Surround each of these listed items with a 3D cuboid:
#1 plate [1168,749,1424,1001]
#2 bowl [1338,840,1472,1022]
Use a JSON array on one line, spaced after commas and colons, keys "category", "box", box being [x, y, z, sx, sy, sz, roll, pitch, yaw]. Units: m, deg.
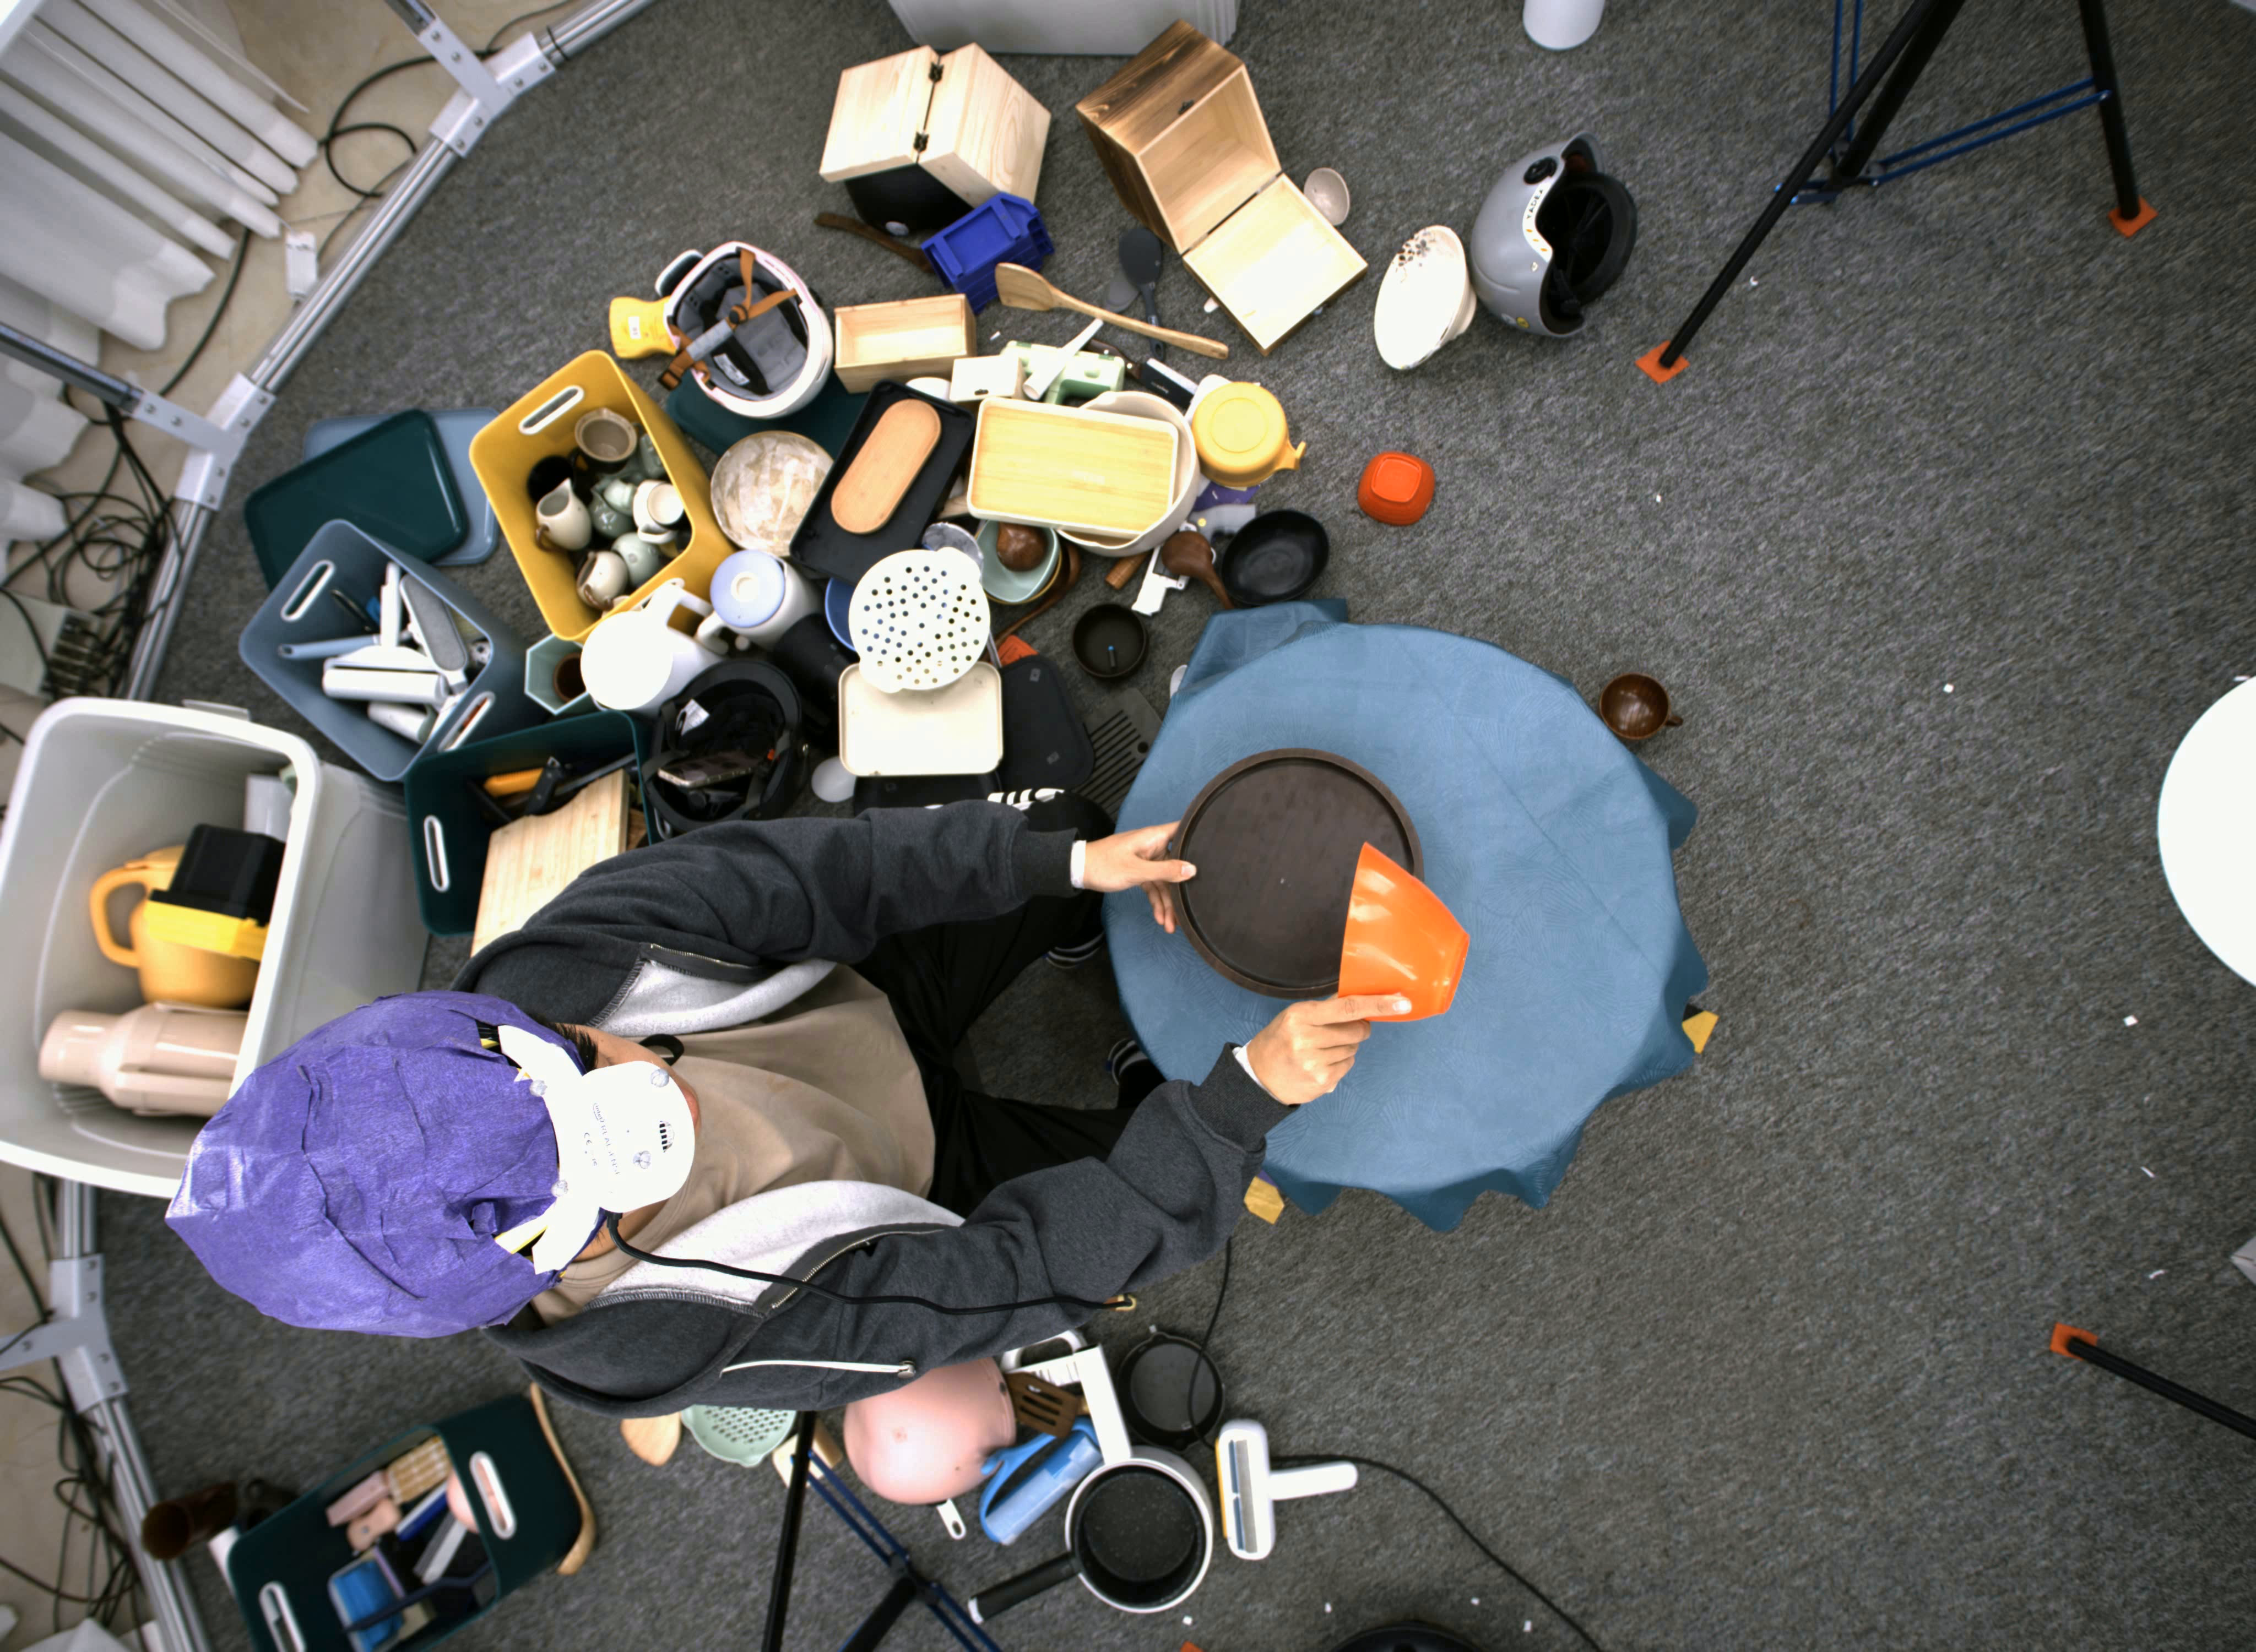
[{"category": "plate", "box": [0.166, 0.047, 1.380, 0.255, 0.029, 0.253, -1, 85, 6]}, {"category": "bowl", "box": [0.226, 0.095, 1.132, 0.104, 0.148, 0.148, 18, 88, 18]}]
